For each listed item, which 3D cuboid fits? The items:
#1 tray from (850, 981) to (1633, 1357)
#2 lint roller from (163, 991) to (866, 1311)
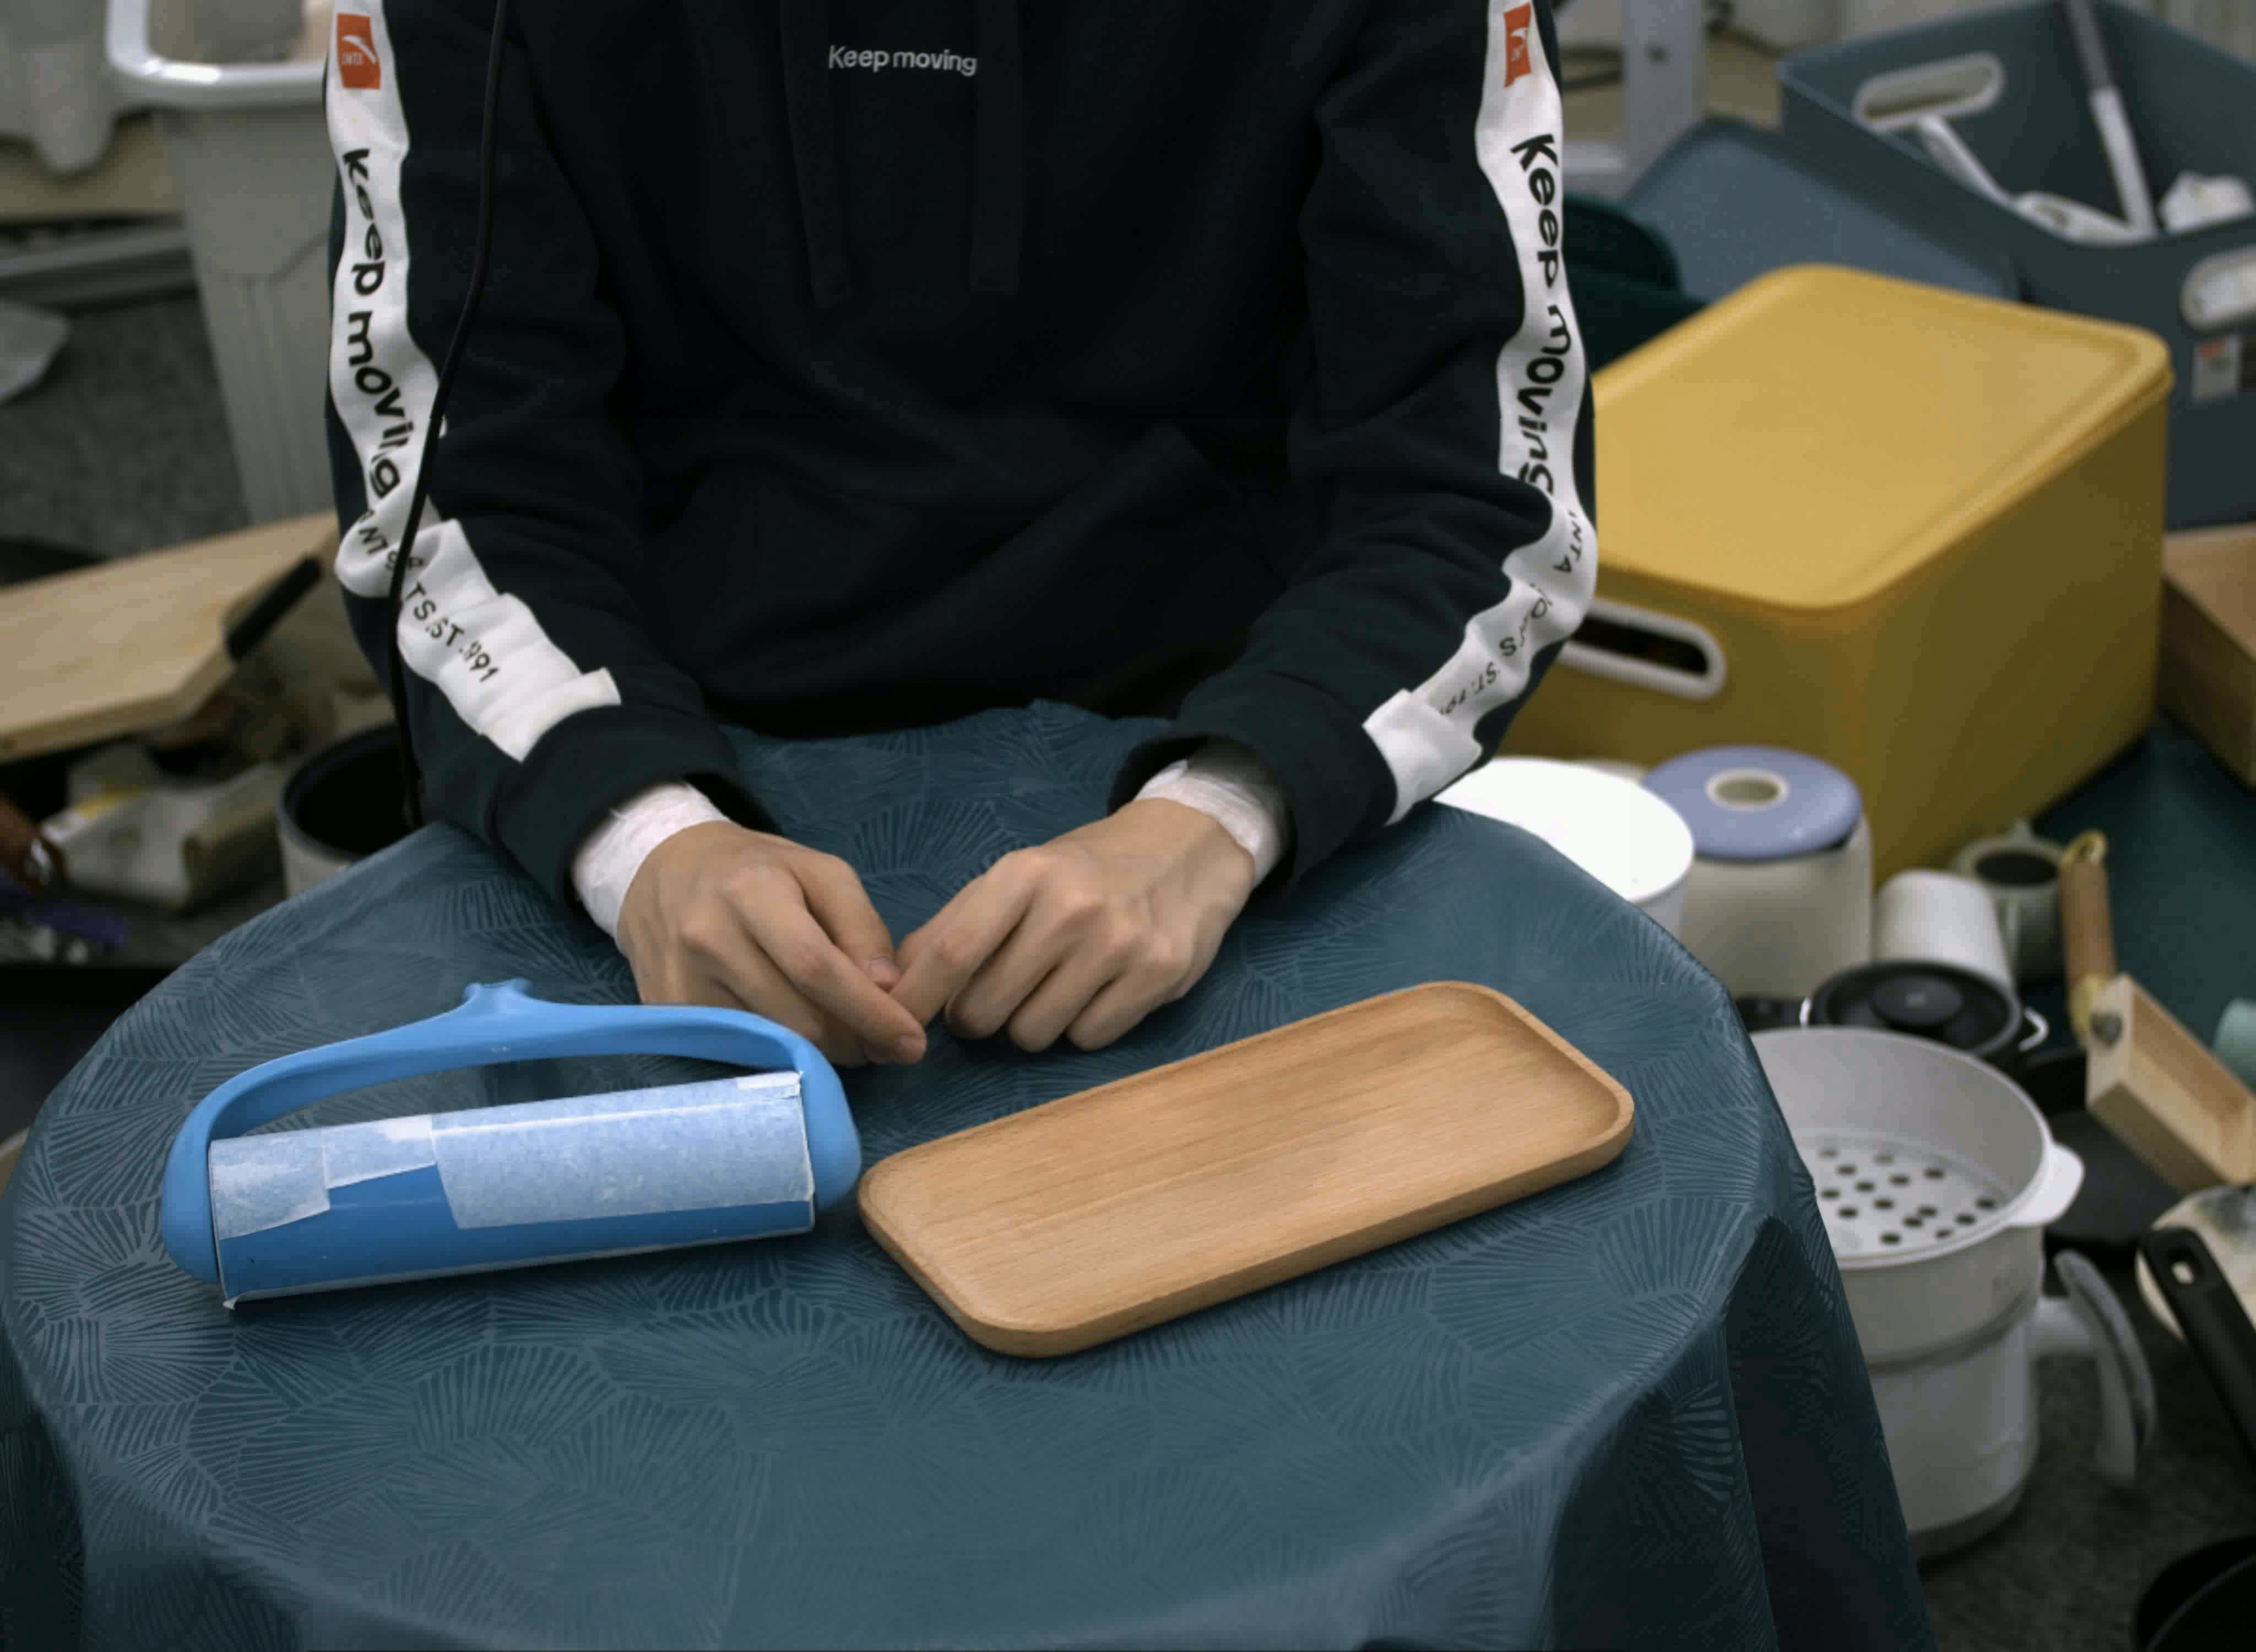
[{"bbox_3d":[0.038,0.112,1.856,0.252,0.022,0.131,-17,28,-24],"label":"tray"},{"bbox_3d":[-0.210,0.091,1.879,0.228,0.067,0.182,-9,28,-8],"label":"lint roller"}]
